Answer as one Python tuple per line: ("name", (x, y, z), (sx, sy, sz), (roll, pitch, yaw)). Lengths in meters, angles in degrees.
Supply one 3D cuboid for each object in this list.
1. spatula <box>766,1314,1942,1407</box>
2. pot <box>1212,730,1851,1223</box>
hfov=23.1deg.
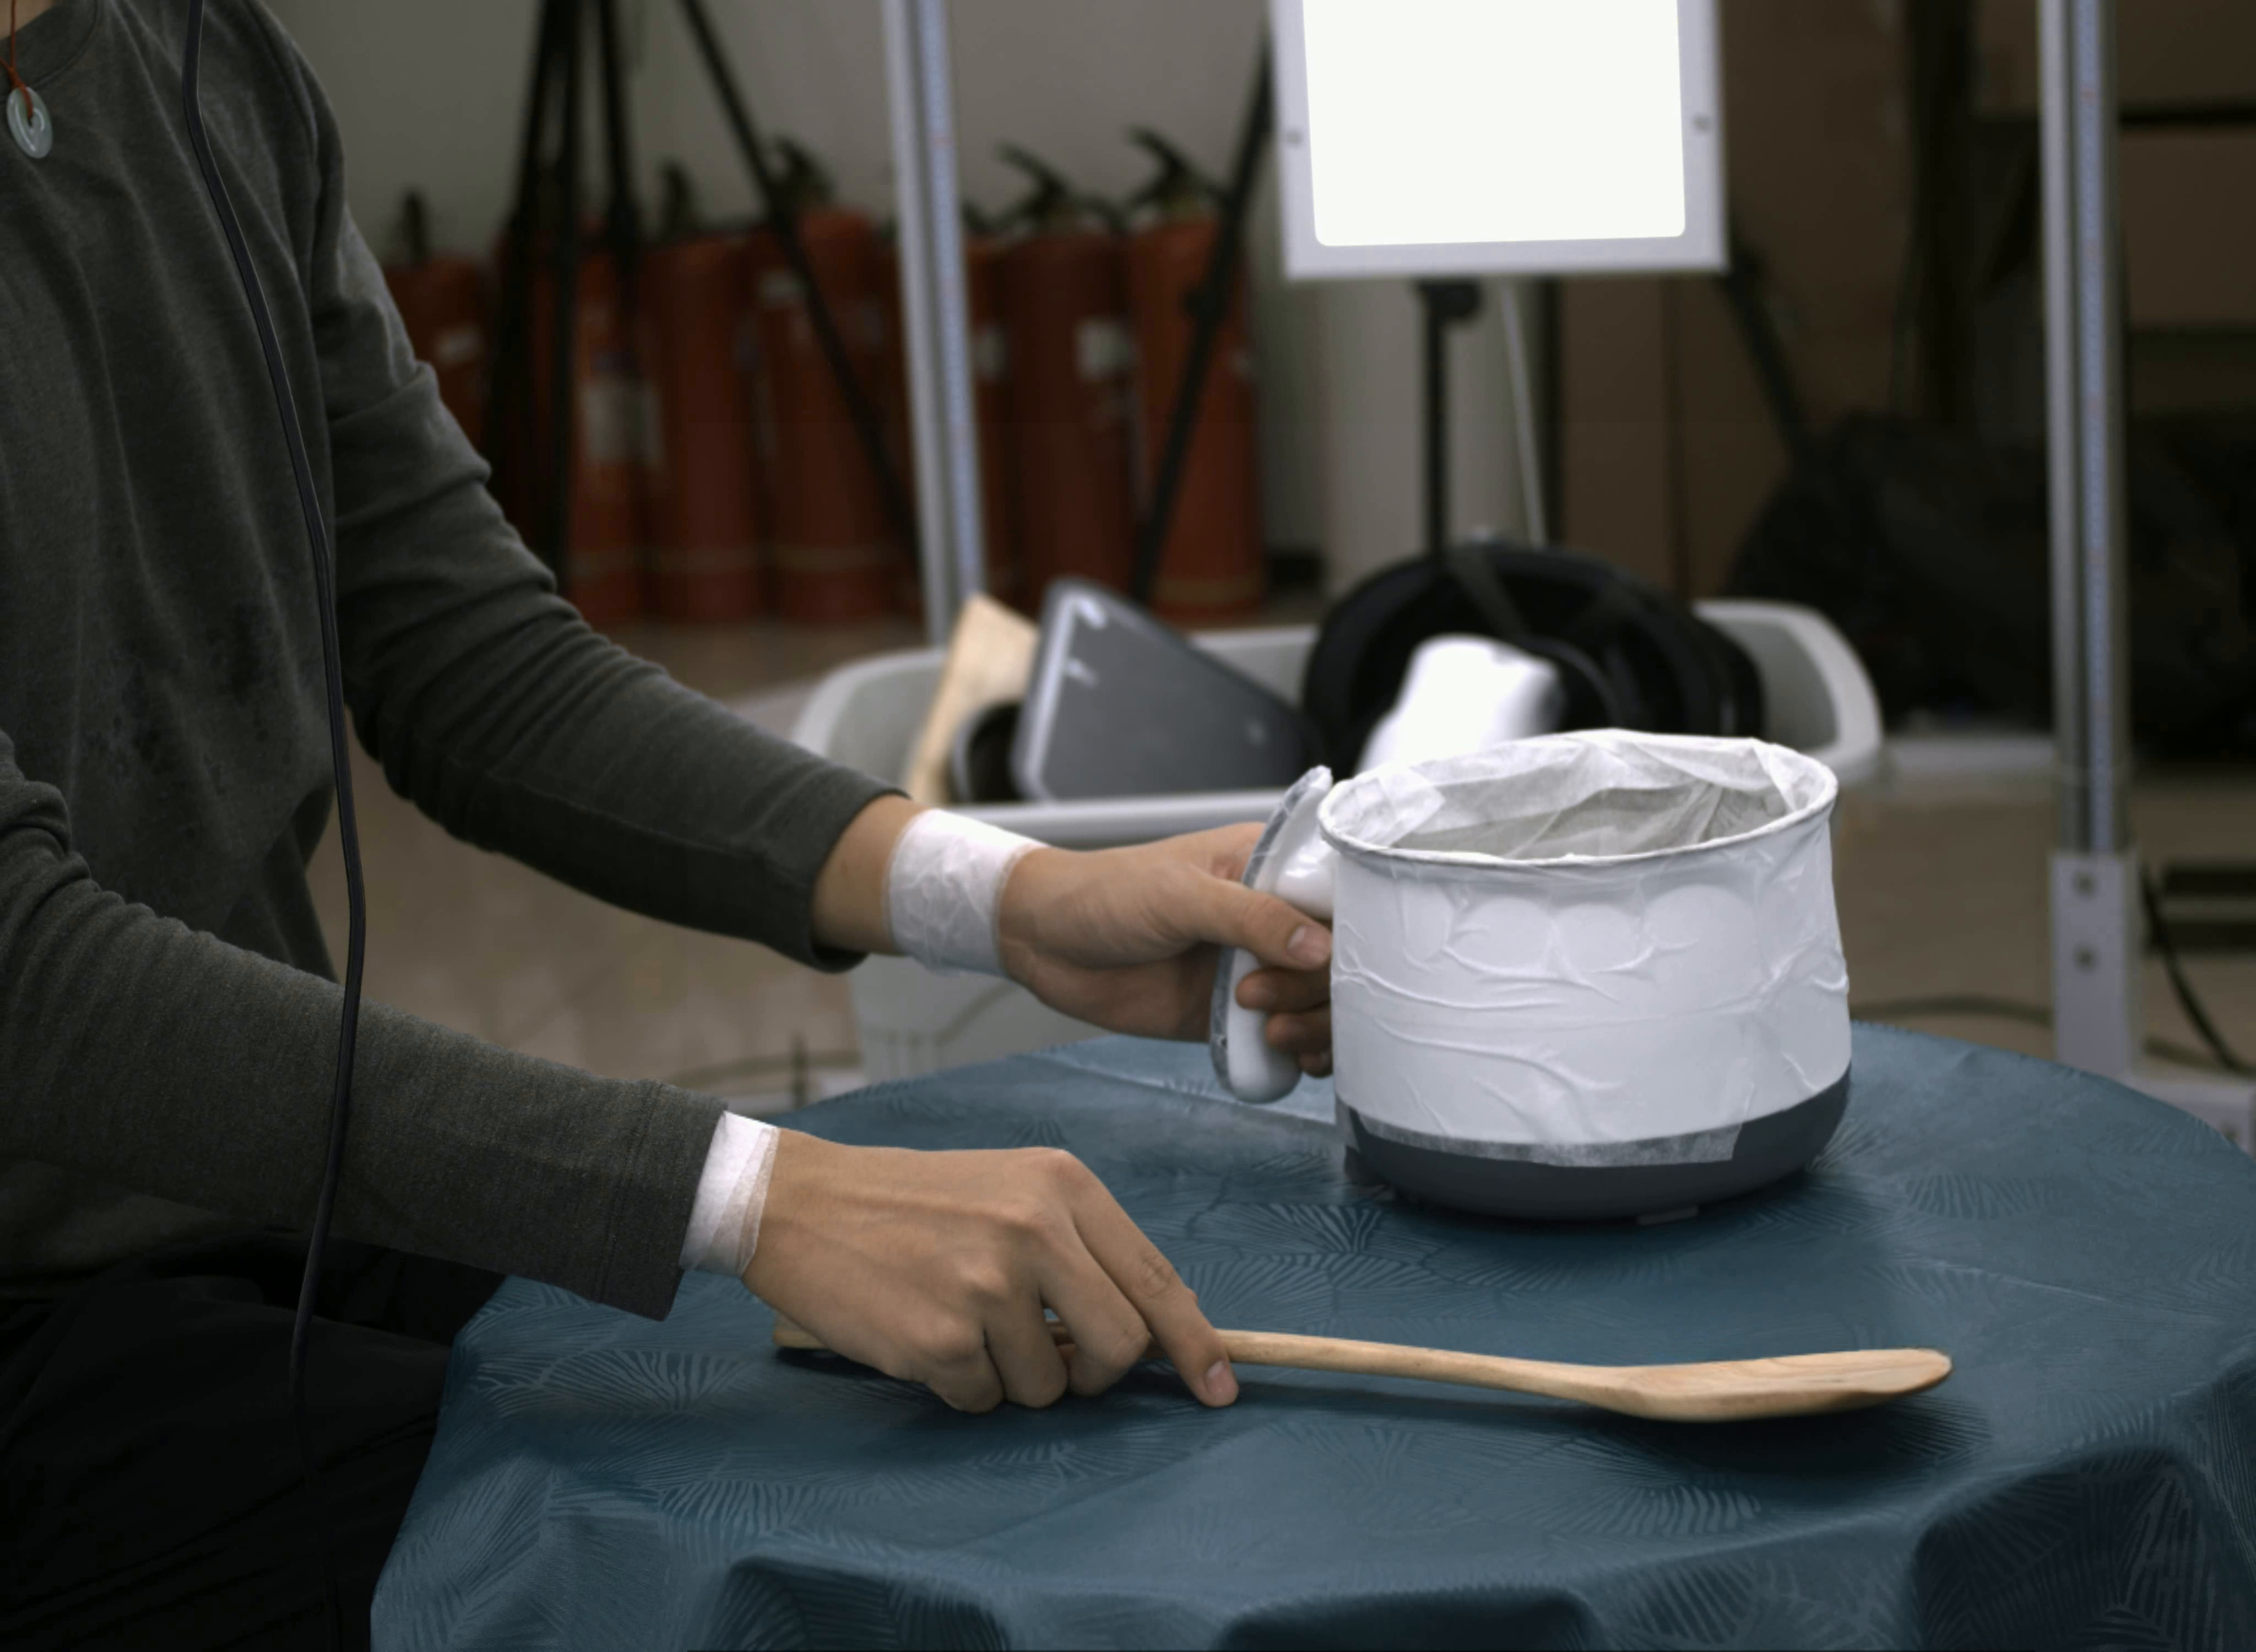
("spatula", (0.059, 0.161, 1.677), (0.397, 0.018, 0.094), (1, -1, 28))
("pot", (0.133, 0.049, 1.882), (0.238, 0.137, 0.174), (3, 15, 30))
